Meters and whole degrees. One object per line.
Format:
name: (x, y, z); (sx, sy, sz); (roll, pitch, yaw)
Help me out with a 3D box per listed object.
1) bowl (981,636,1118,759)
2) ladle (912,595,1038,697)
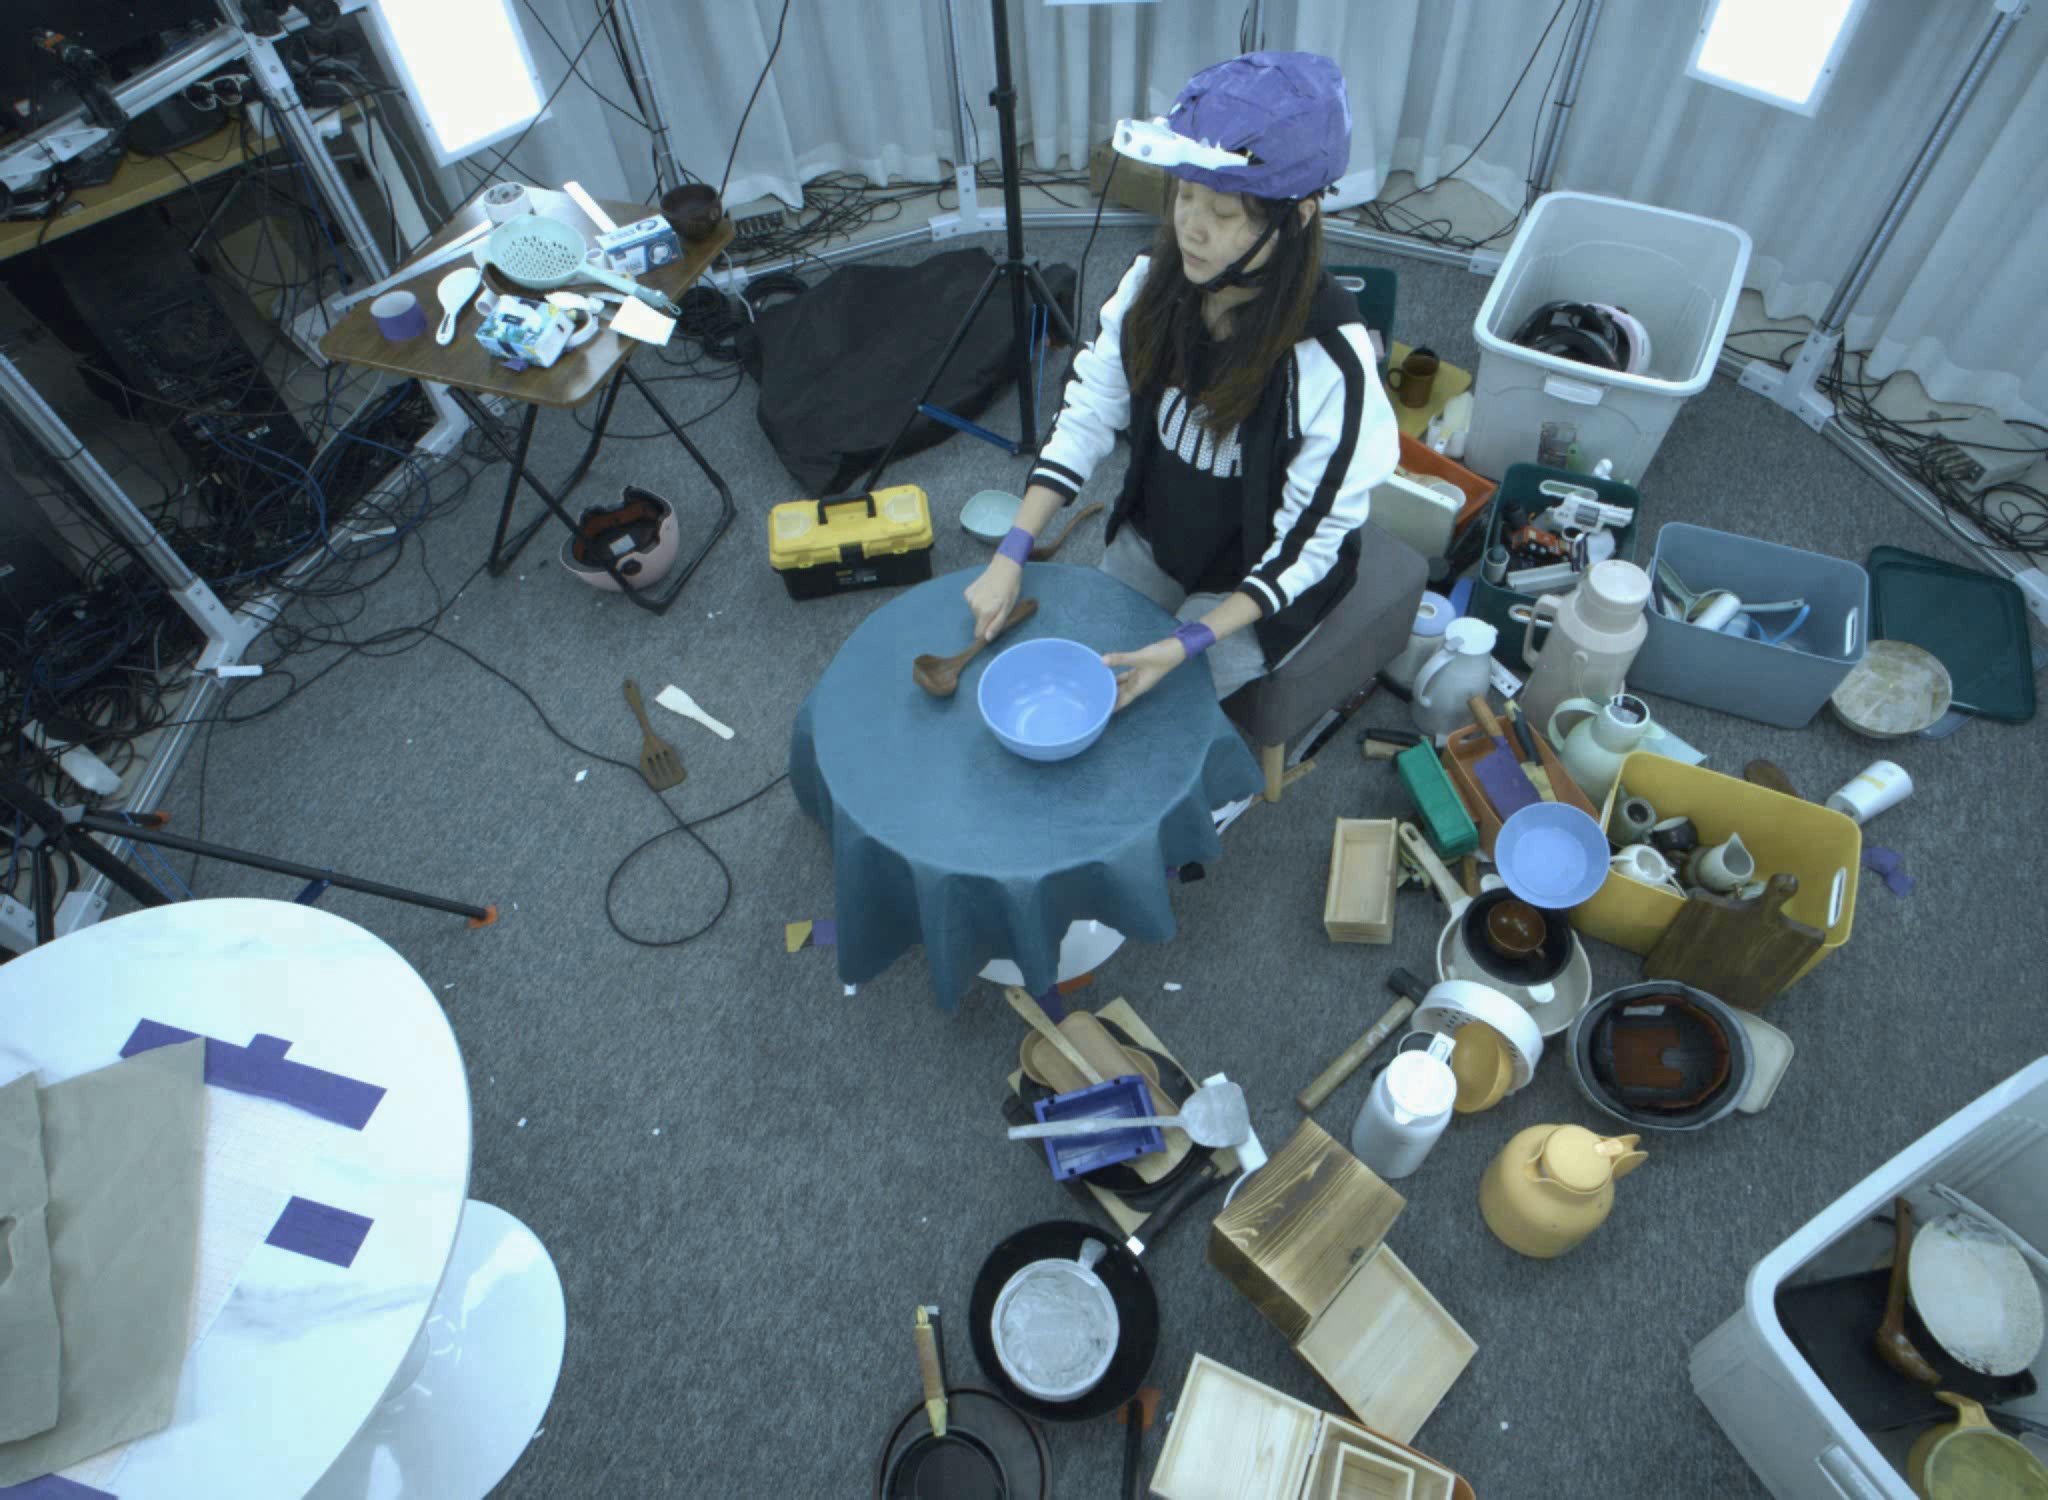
bowl: (0.042, -0.060, 1.772); (0.195, 0.097, 0.194); (-4, 53, 7)
ladle: (-0.066, -0.169, 1.872); (0.262, 0.064, 0.076); (-40, 89, -23)
